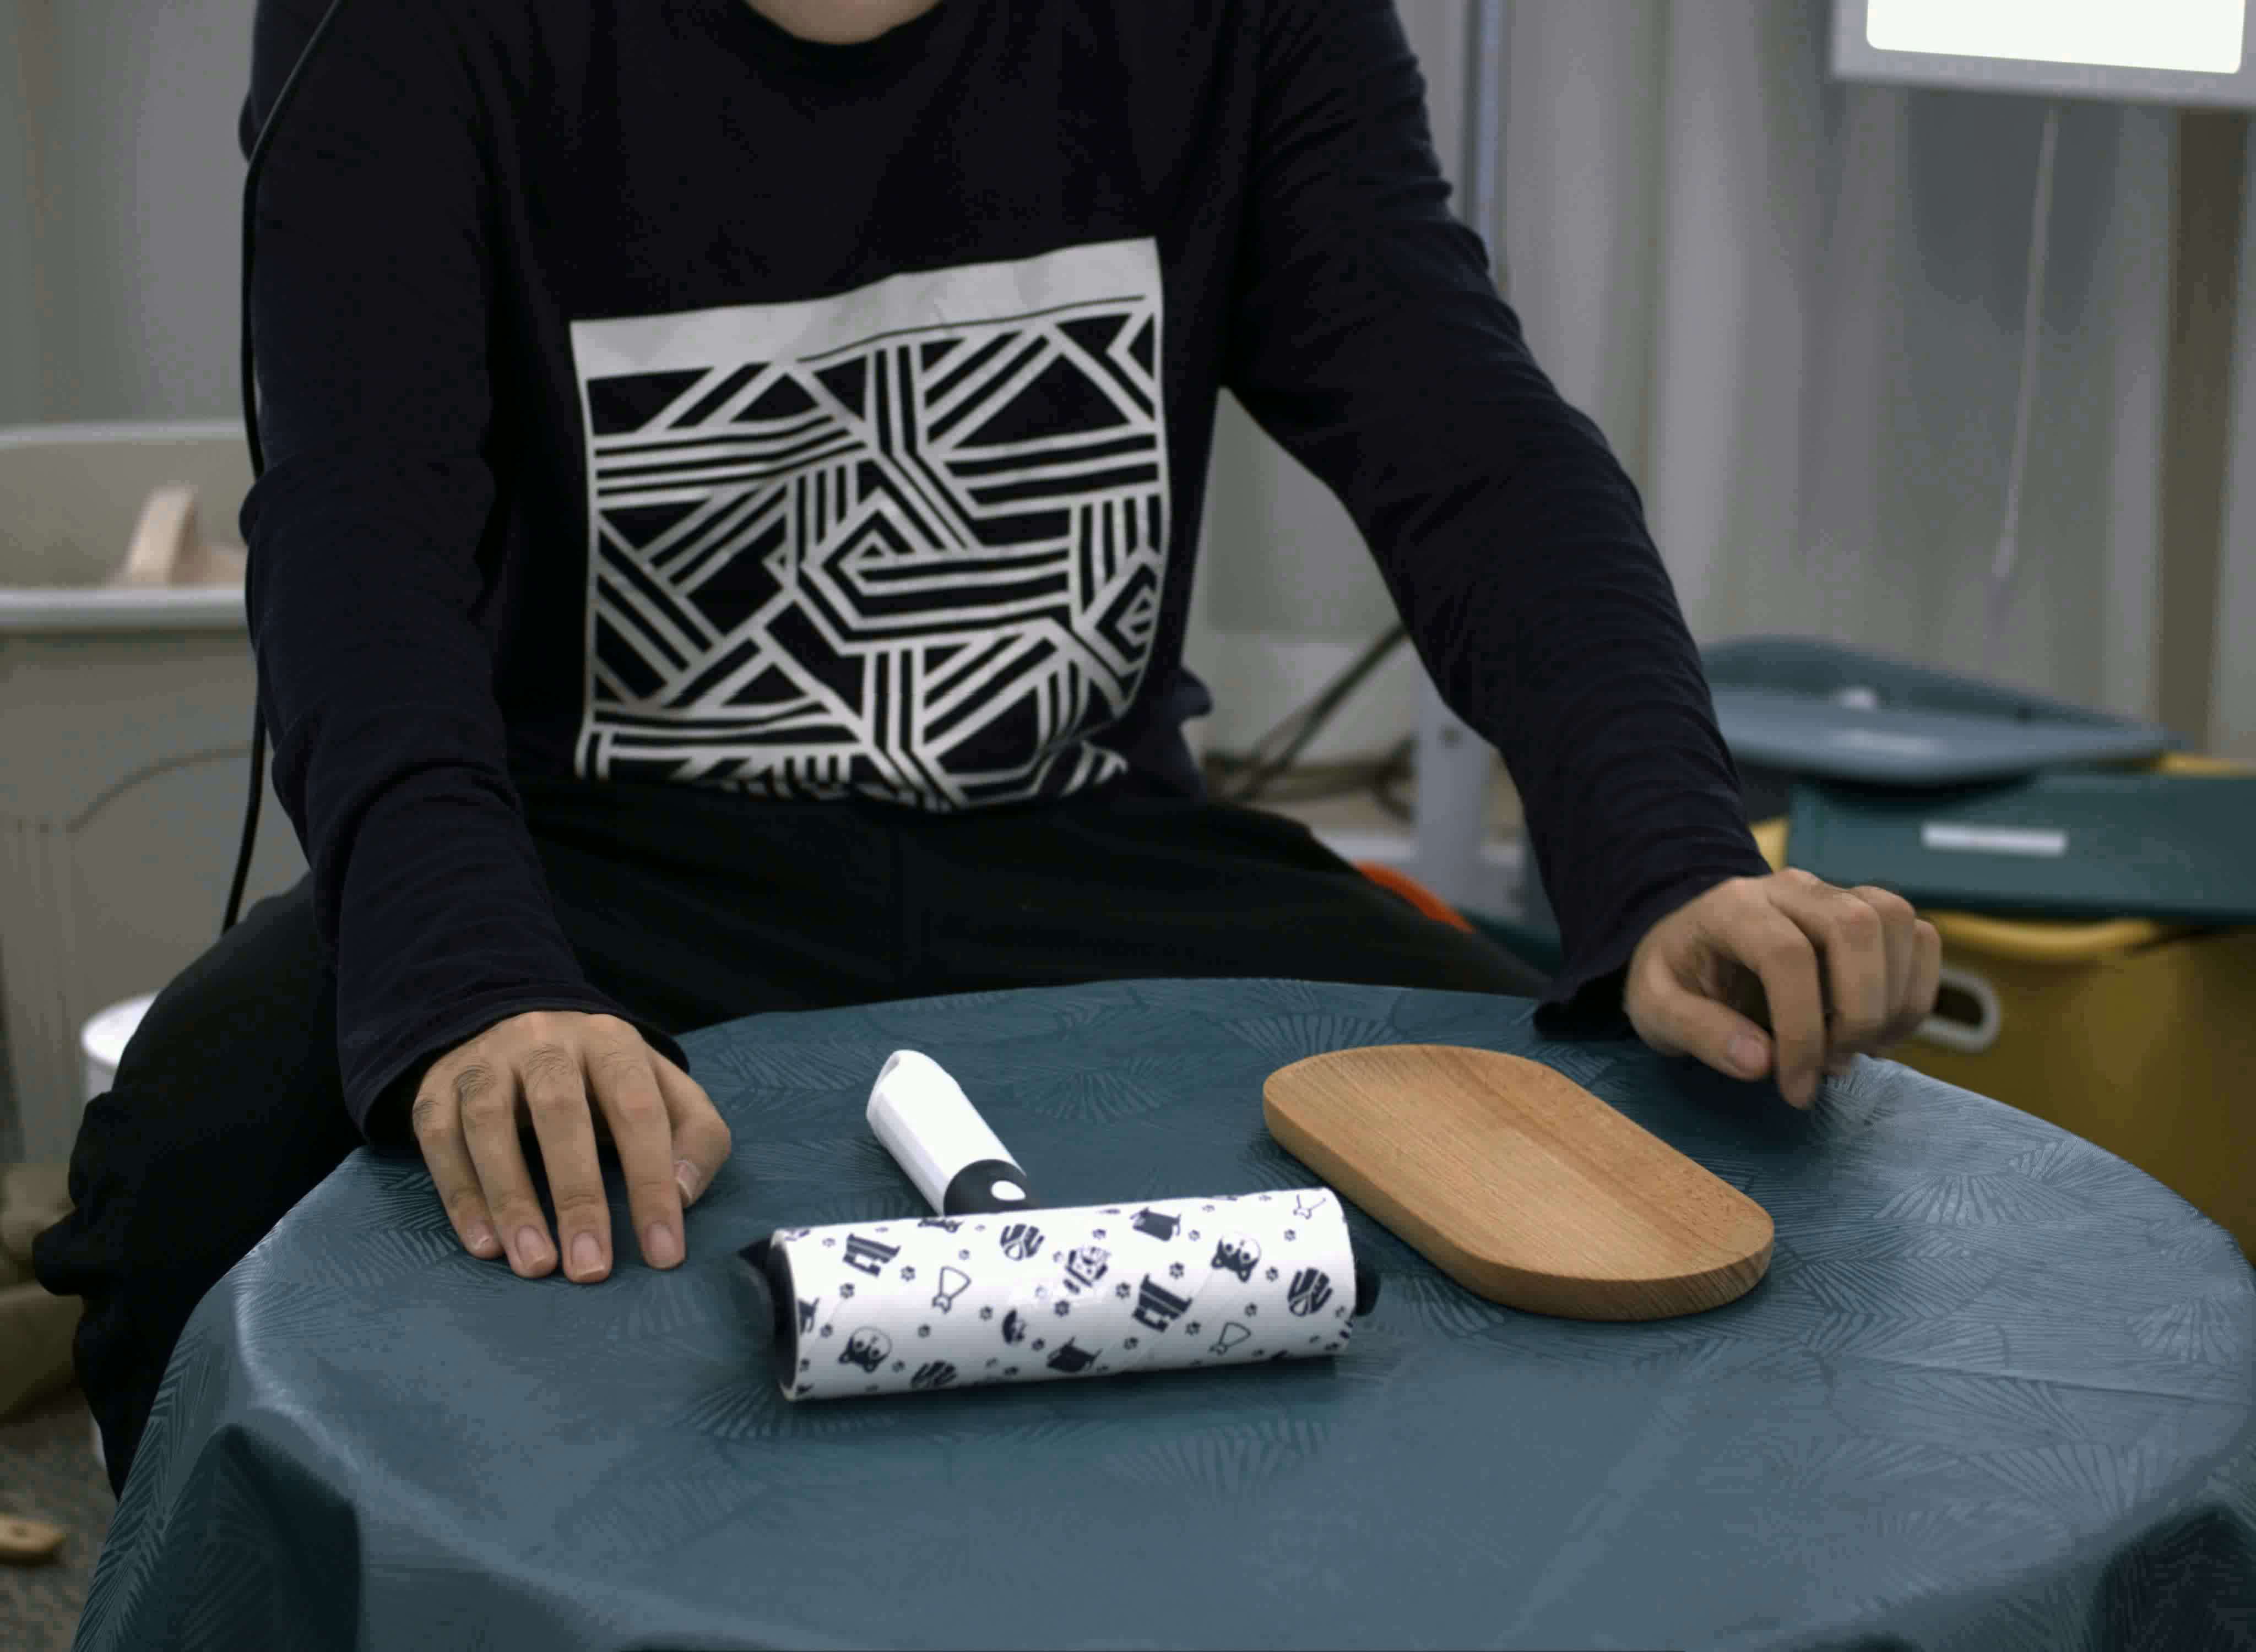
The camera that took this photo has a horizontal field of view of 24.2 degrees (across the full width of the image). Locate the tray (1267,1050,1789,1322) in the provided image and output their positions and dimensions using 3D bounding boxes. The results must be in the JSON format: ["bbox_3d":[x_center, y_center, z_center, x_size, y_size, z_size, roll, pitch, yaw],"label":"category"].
[{"bbox_3d":[0.119,0.108,1.615,0.102,0.020,0.228,-8,18,-22],"label":"tray"}]

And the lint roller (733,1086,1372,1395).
[{"bbox_3d":[-0.046,0.108,1.563,0.176,0.051,0.245,-4,13,-15],"label":"lint roller"}]
